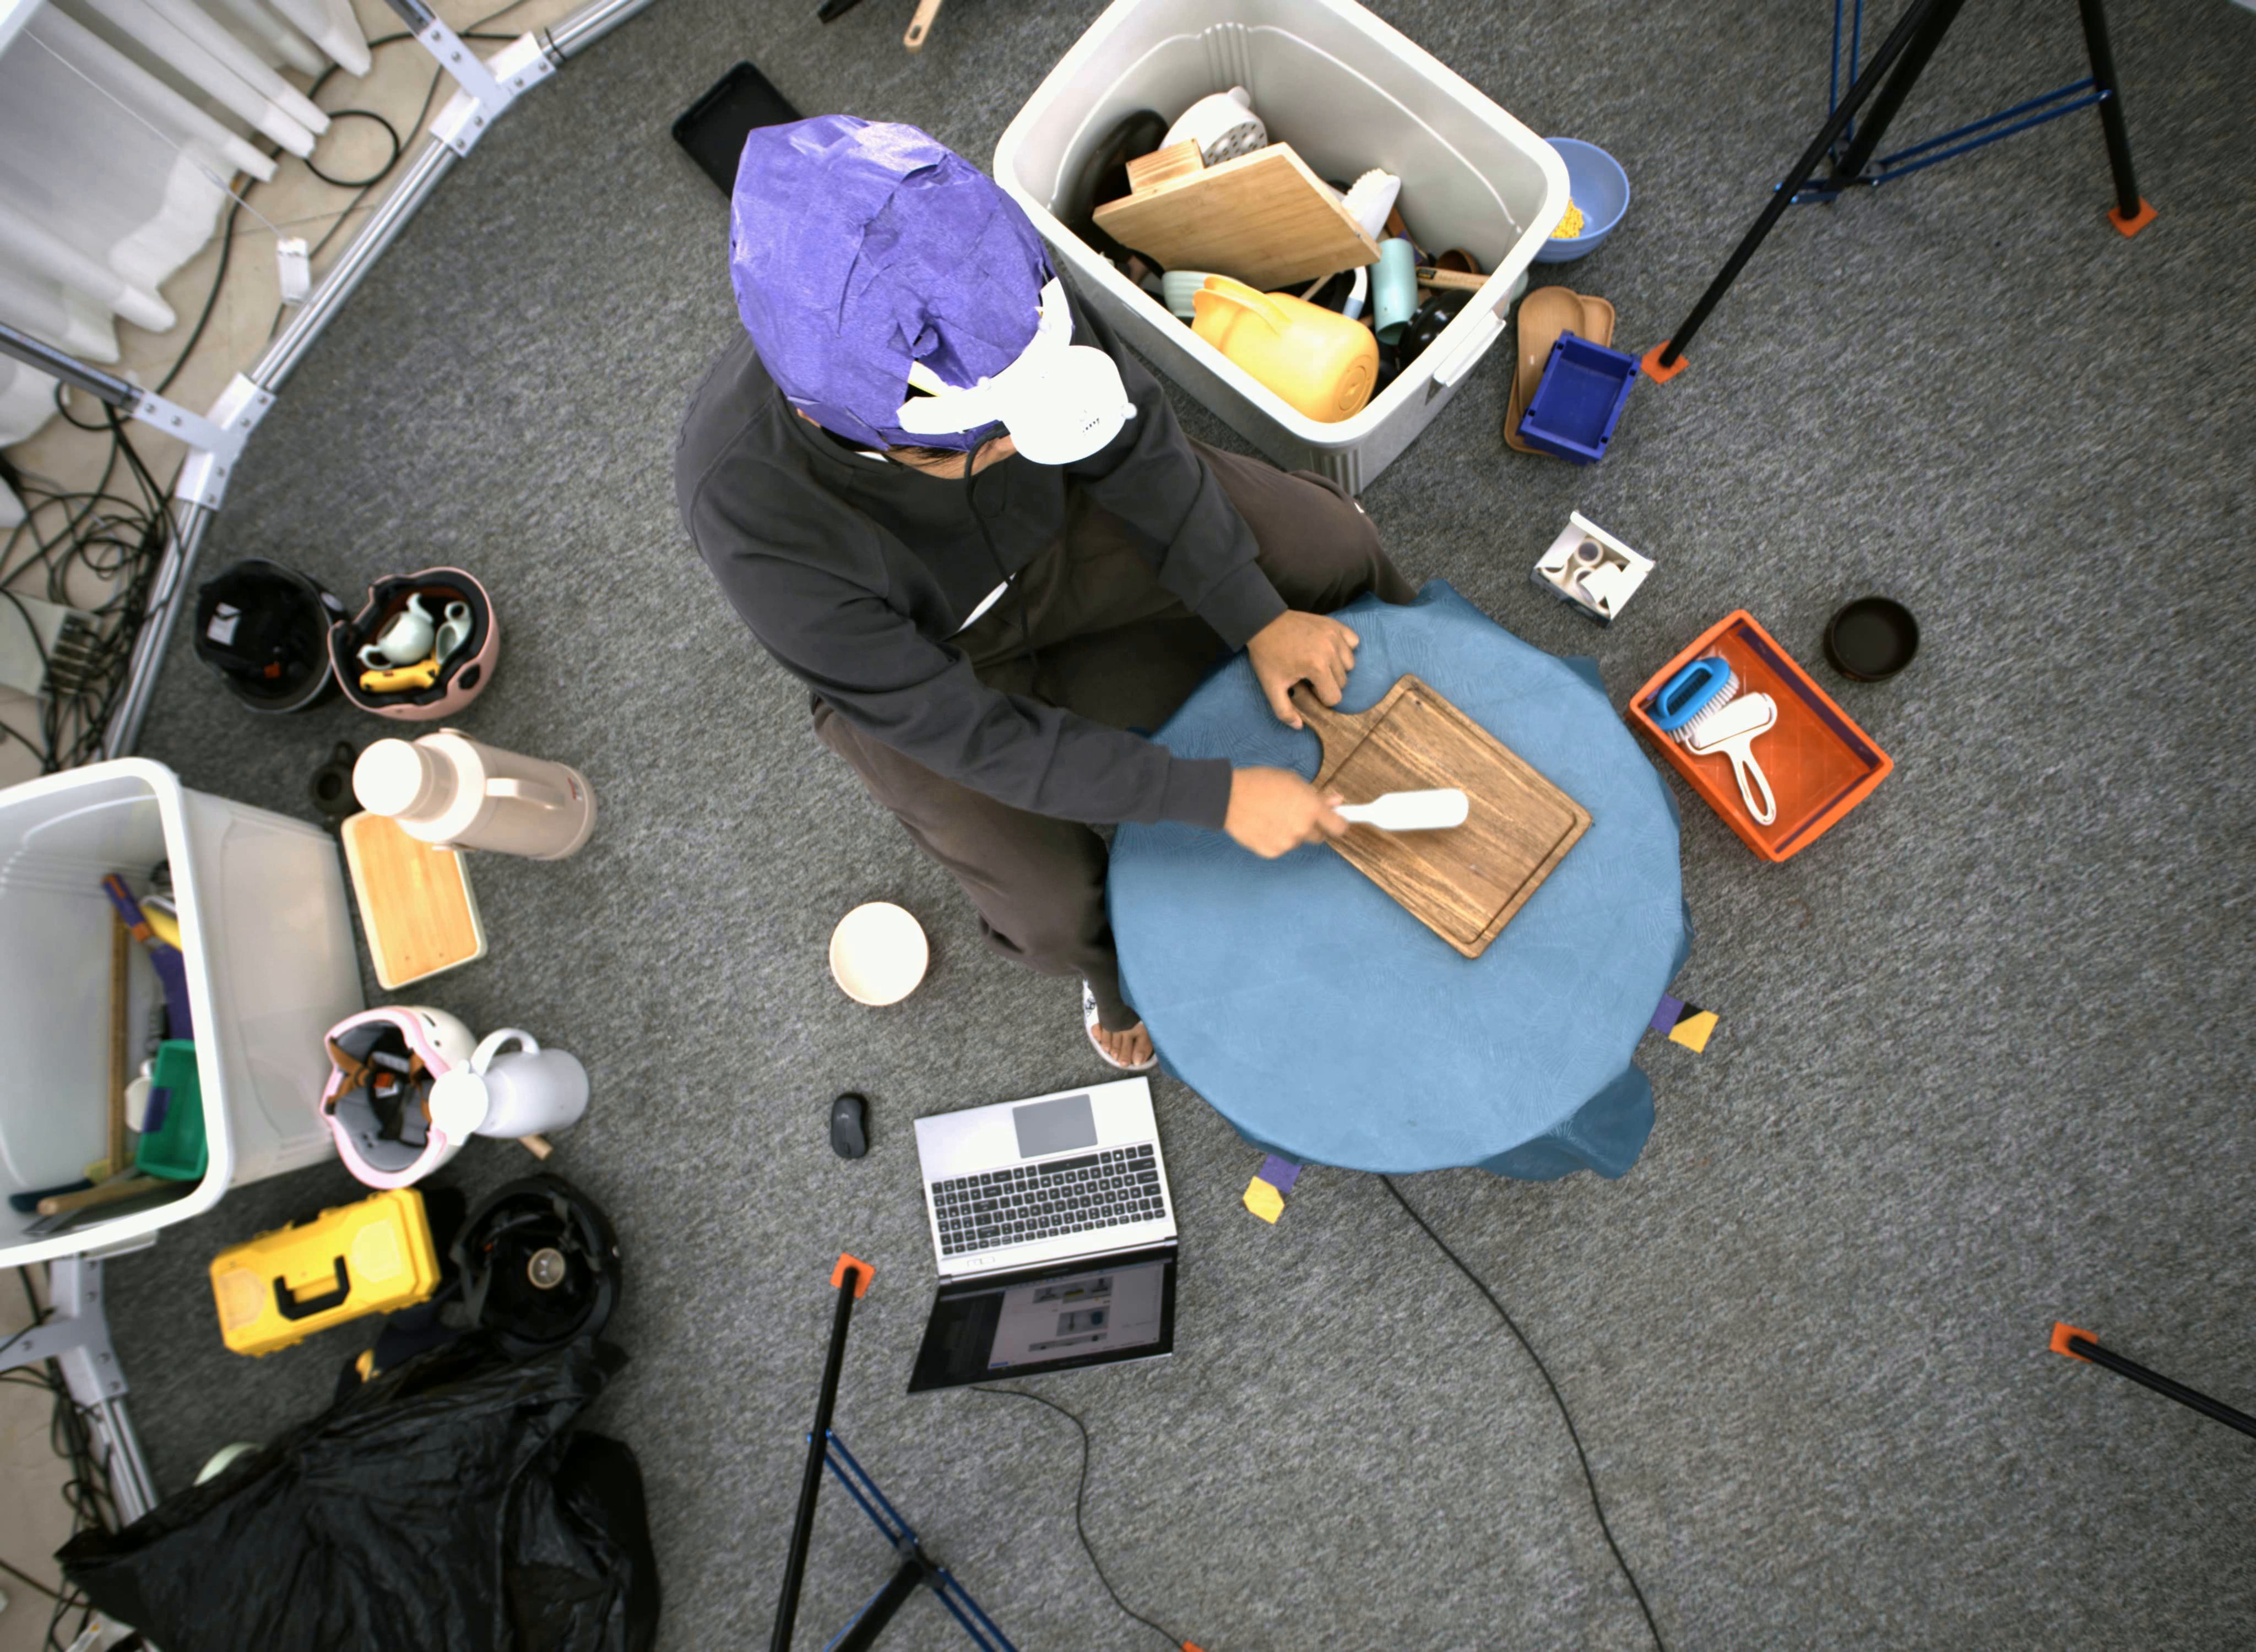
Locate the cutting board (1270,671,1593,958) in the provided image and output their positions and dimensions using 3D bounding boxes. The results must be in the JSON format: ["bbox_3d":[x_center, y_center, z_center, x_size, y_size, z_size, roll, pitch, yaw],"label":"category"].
[{"bbox_3d":[0.291,-0.047,1.454,0.350,0.023,0.202,41,94,11],"label":"cutting board"}]

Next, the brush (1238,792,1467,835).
[{"bbox_3d":[0.227,-0.009,1.402,0.229,0.050,0.037,-5,87,5],"label":"brush"}]
